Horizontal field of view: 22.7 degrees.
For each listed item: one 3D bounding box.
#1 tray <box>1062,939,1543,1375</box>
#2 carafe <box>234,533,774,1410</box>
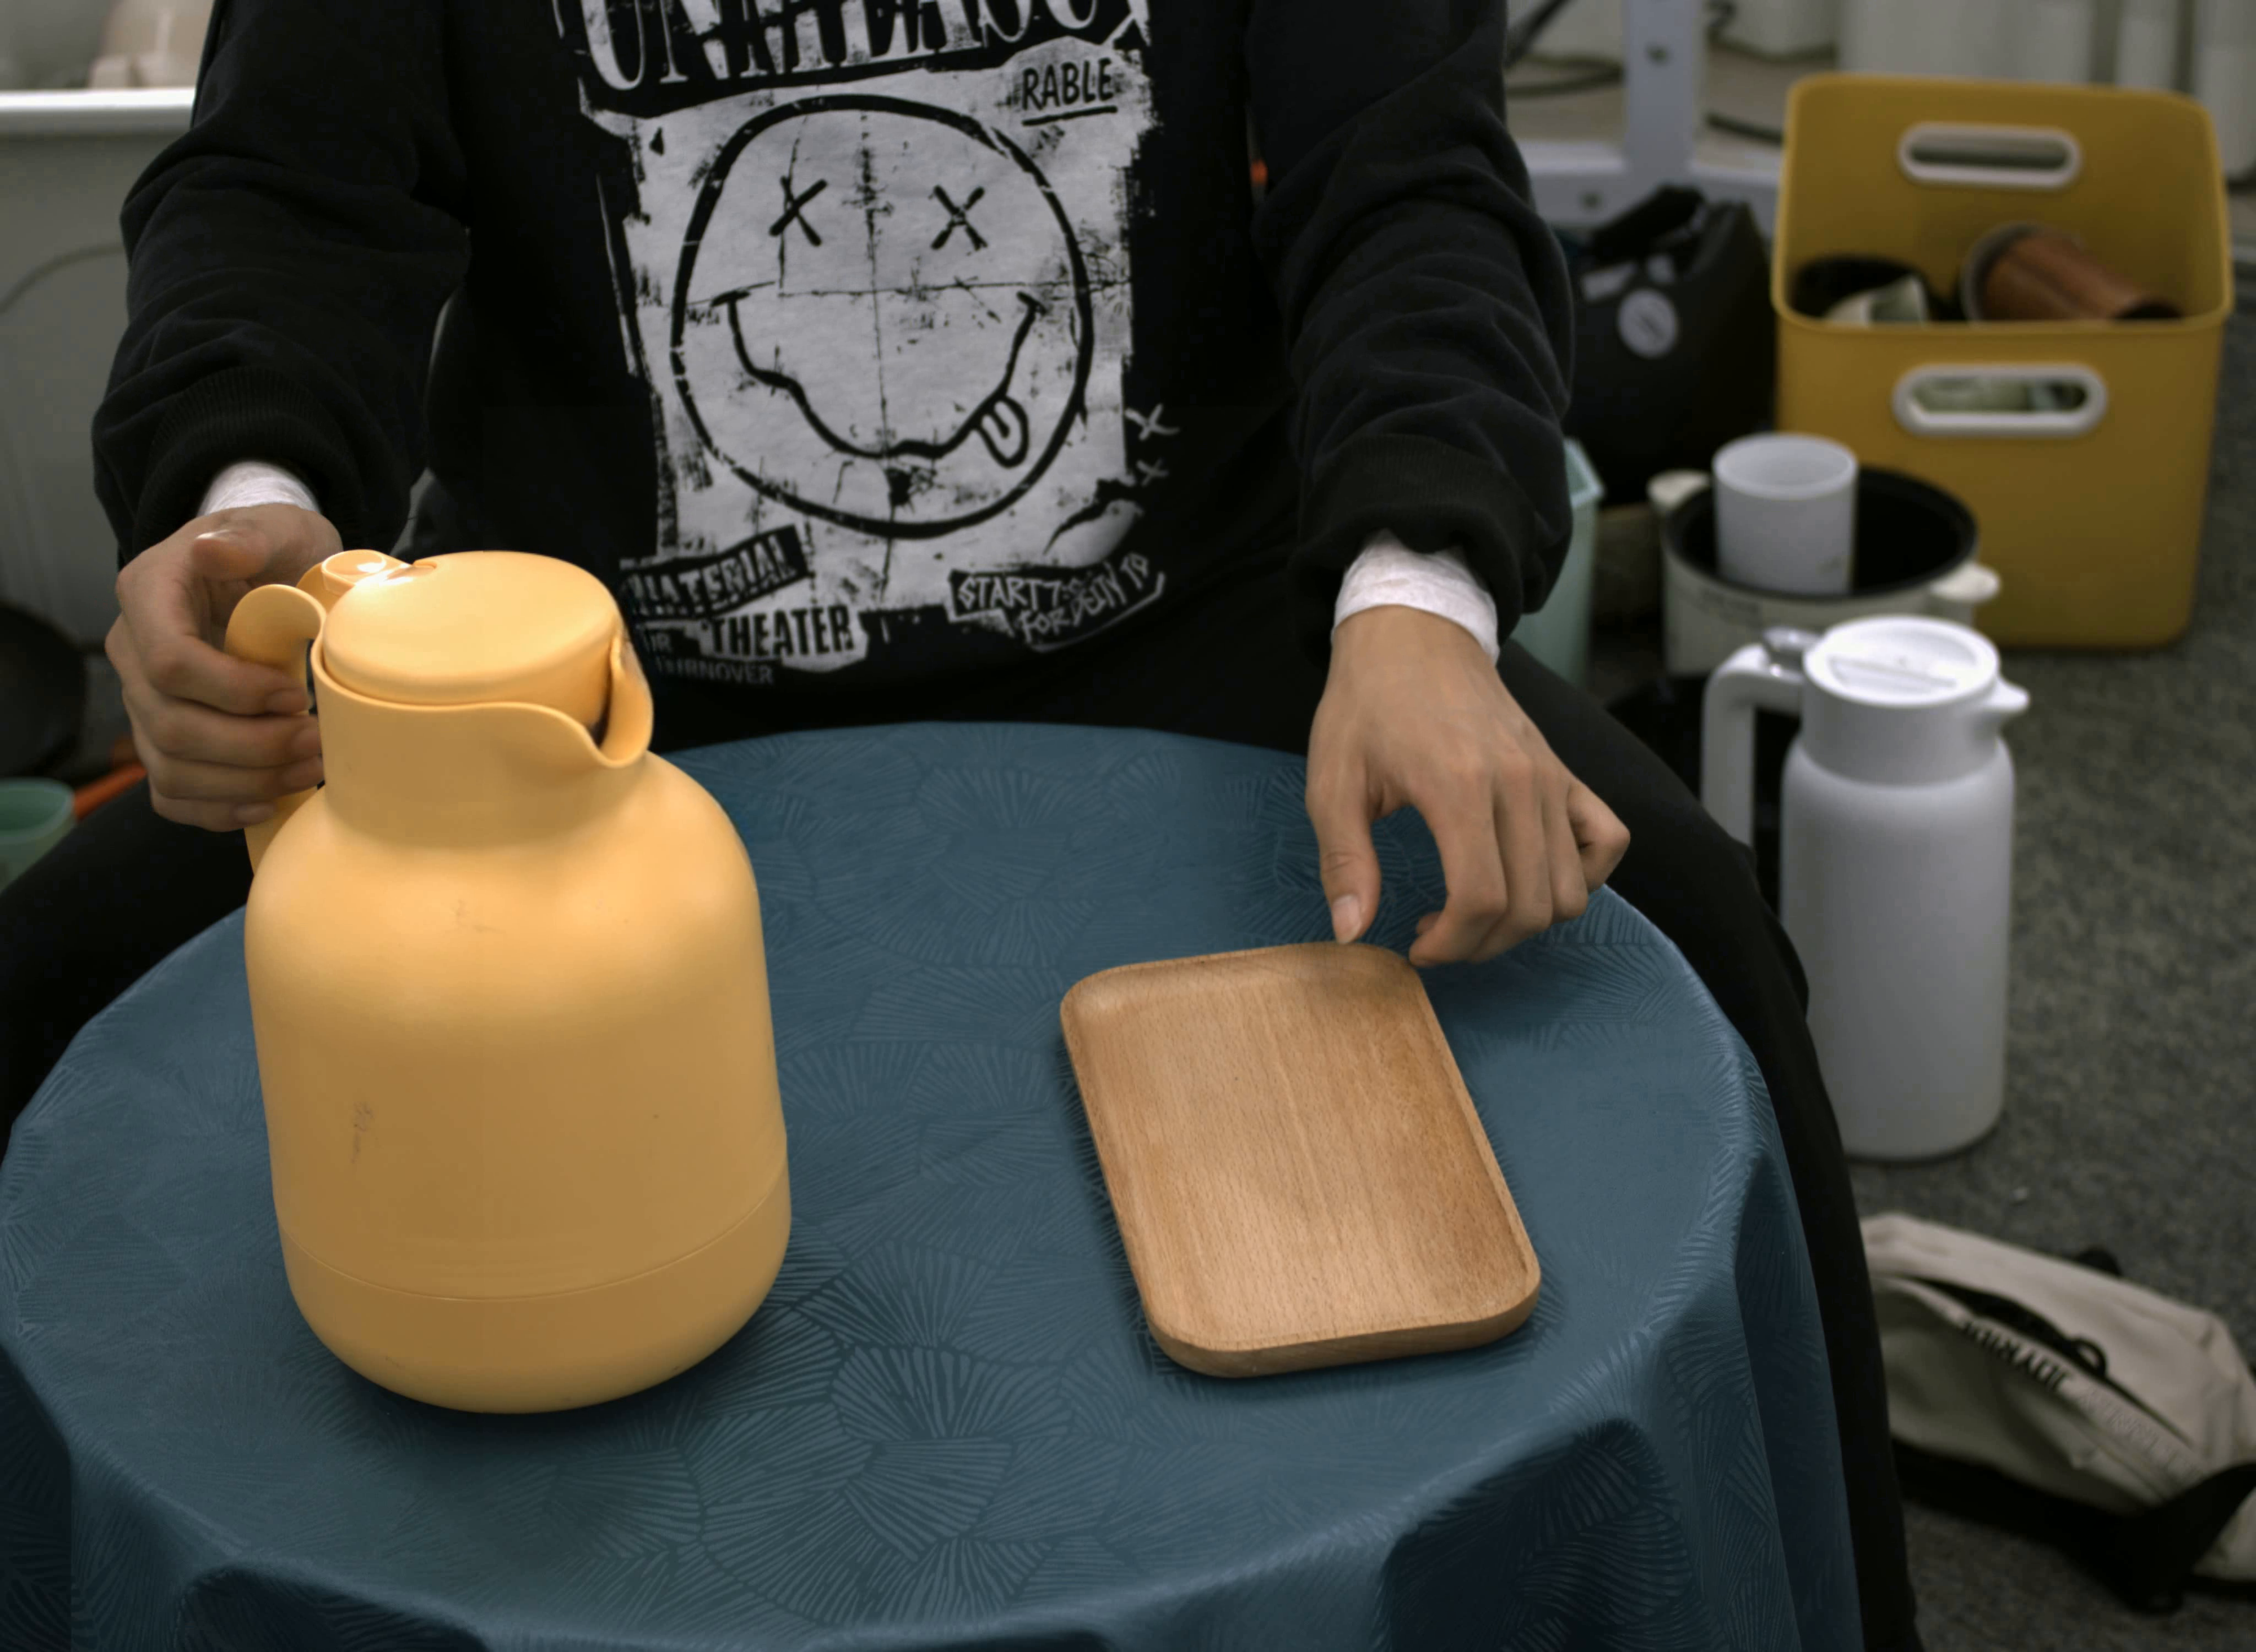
[{"bbox_3d":[0.054,0.107,1.863,0.130,0.022,0.254,-4,27,-7],"label":"tray"},{"bbox_3d":[-0.207,0.035,1.764,0.165,0.257,0.202,-21,33,-37],"label":"carafe"}]
